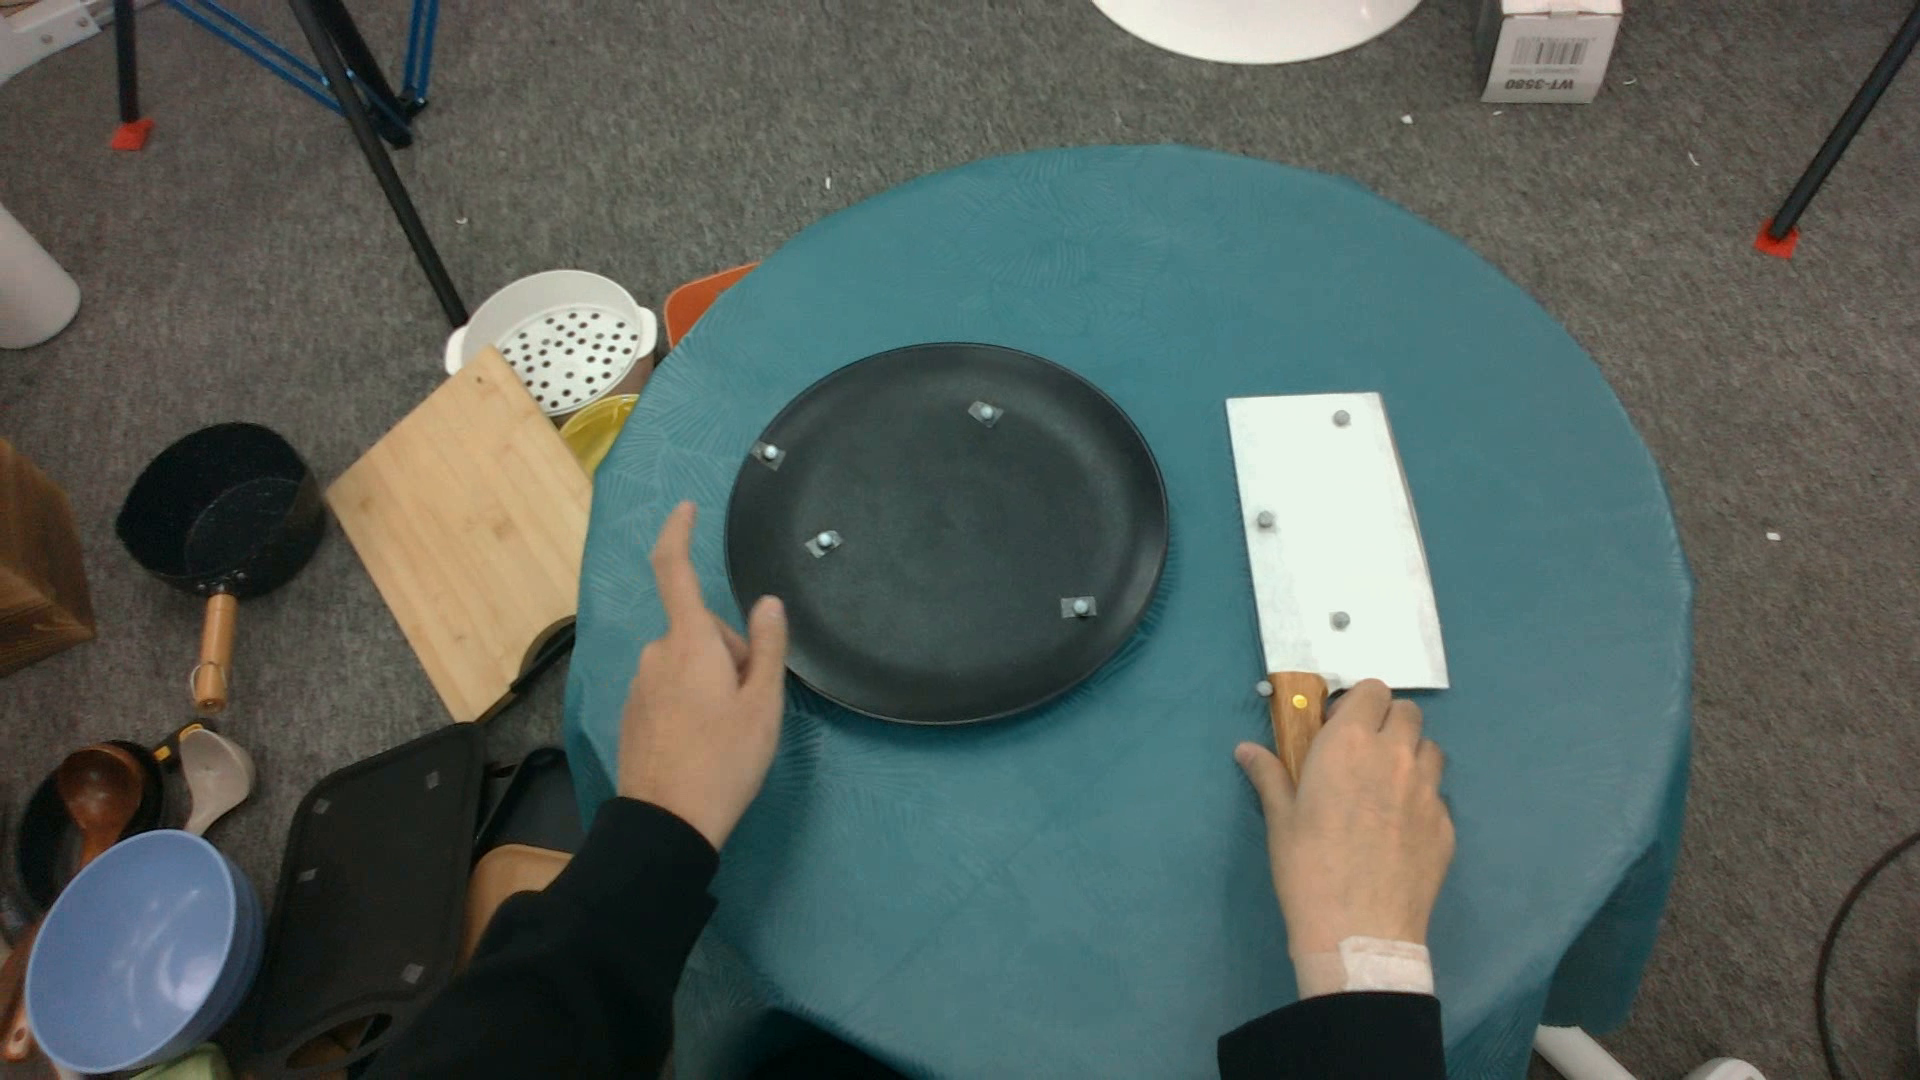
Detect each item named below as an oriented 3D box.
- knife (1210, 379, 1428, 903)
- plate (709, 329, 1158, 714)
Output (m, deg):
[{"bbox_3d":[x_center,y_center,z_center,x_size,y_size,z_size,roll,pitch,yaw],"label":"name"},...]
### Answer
[{"bbox_3d":[0.191,0.036,0.716,0.093,0.021,0.307,-2,57,1],"label":"knife"},{"bbox_3d":[-0.014,-0.015,0.753,0.244,0.023,0.245,-1,59,2],"label":"plate"}]
